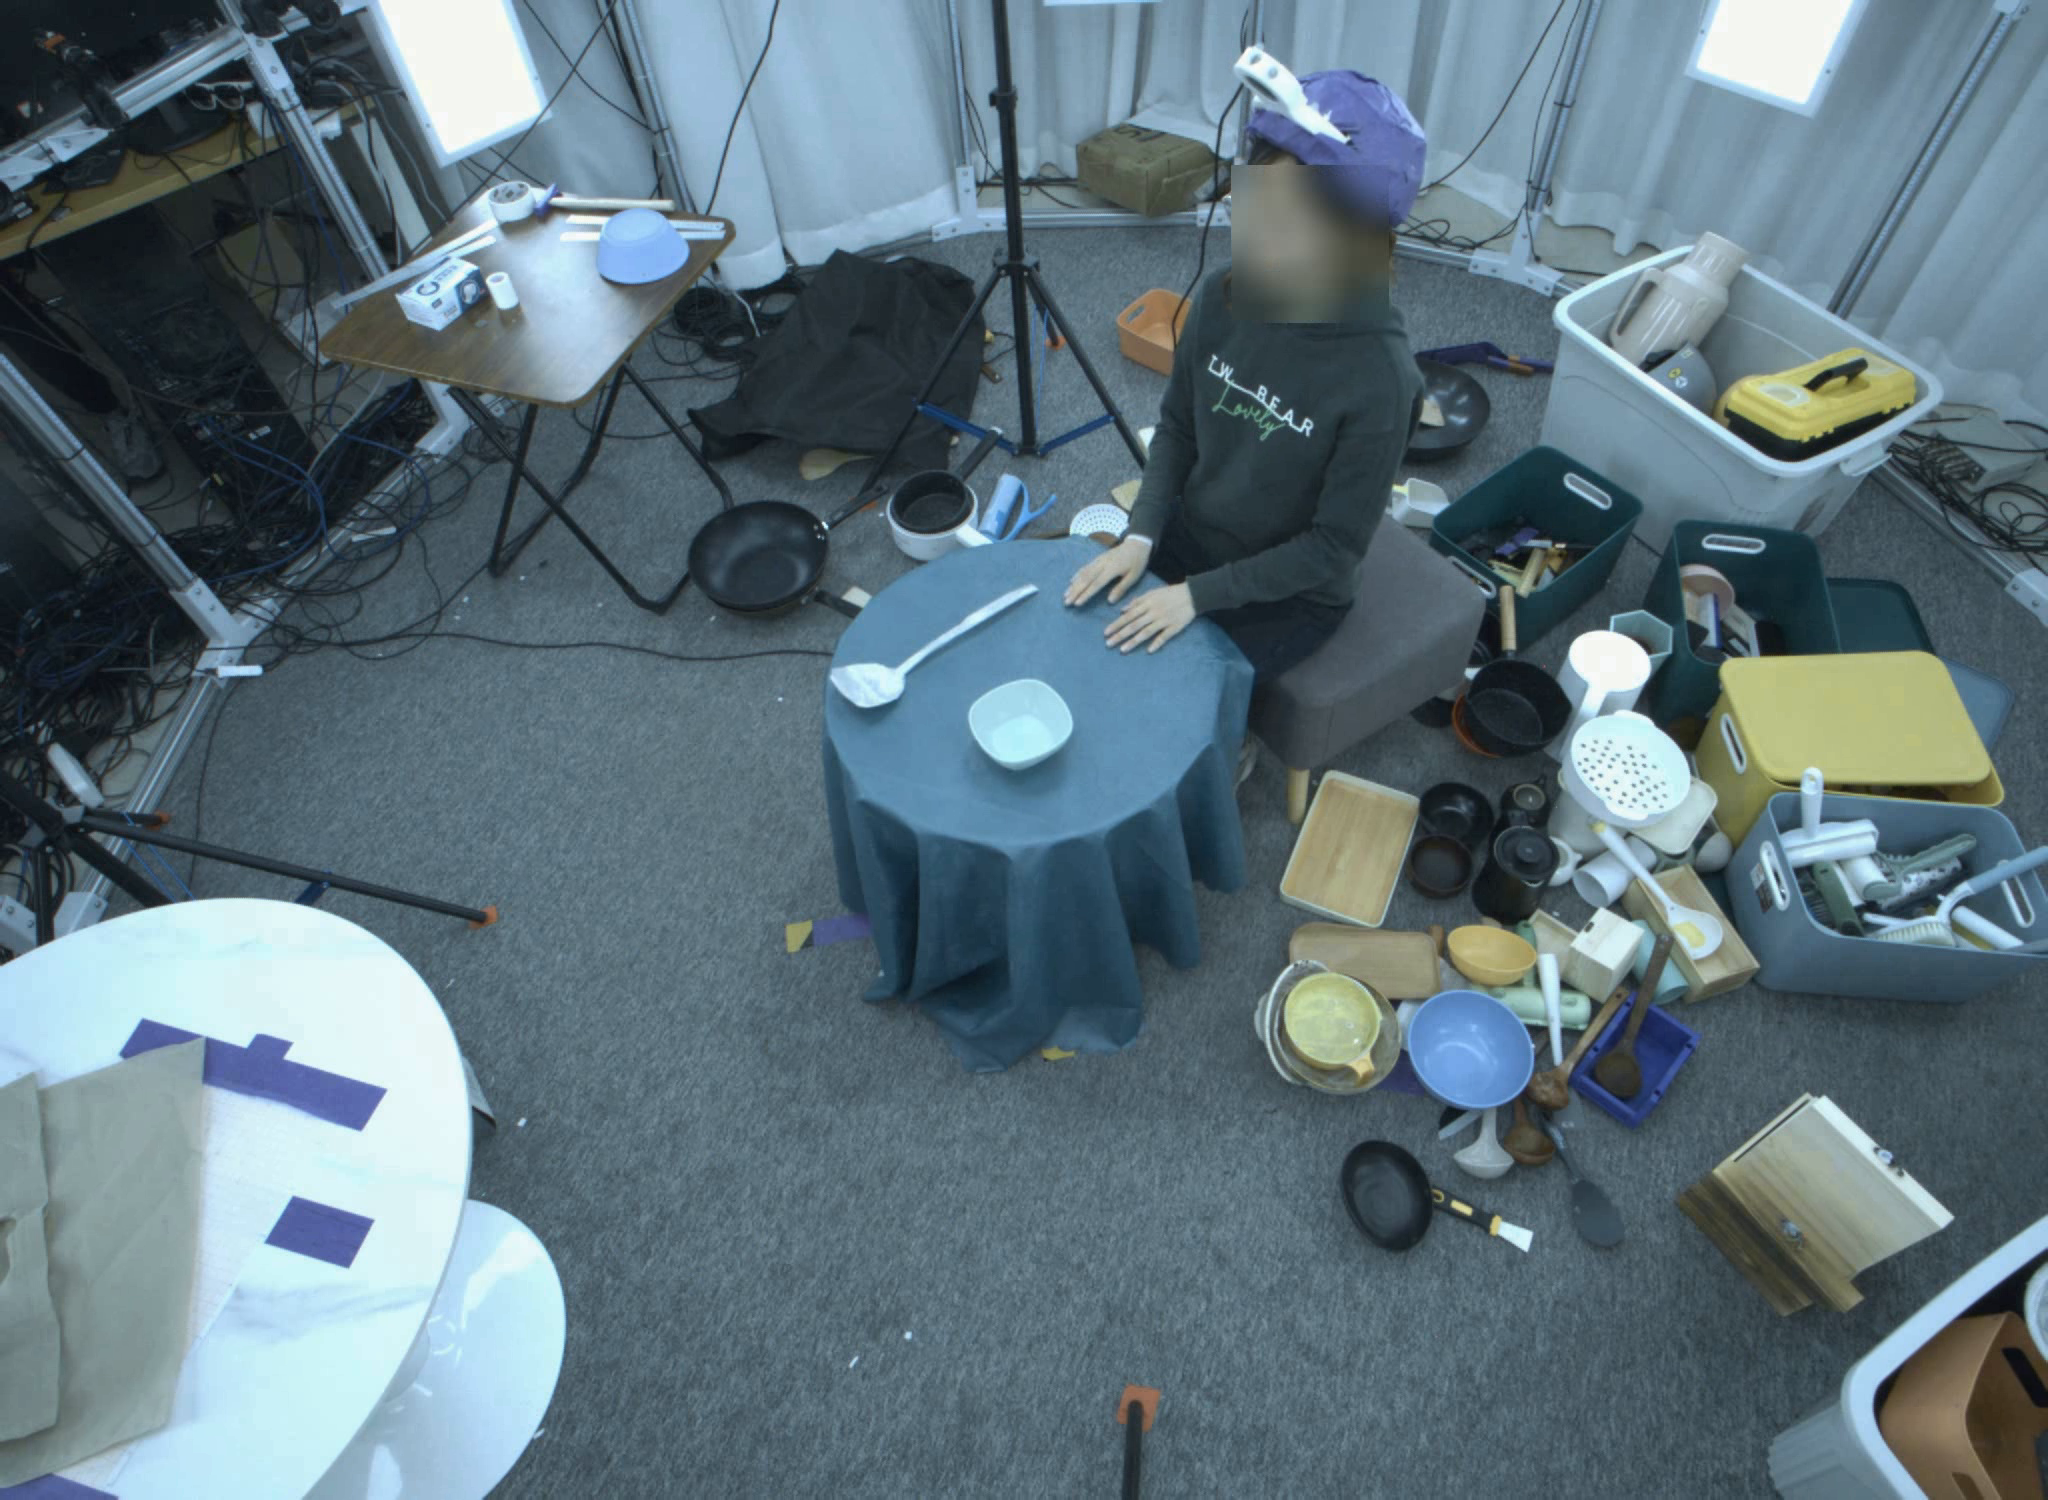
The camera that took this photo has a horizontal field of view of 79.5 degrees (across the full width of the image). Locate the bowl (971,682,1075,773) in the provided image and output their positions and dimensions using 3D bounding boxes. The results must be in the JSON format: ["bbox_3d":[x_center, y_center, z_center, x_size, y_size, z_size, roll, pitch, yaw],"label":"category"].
[{"bbox_3d":[0.000,-0.022,1.780,0.151,0.059,0.150,0,57,1],"label":"bowl"}]

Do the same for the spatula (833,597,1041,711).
[{"bbox_3d":[-0.125,-0.163,1.893,0.368,0.045,0.097,-34,59,-20],"label":"spatula"}]
